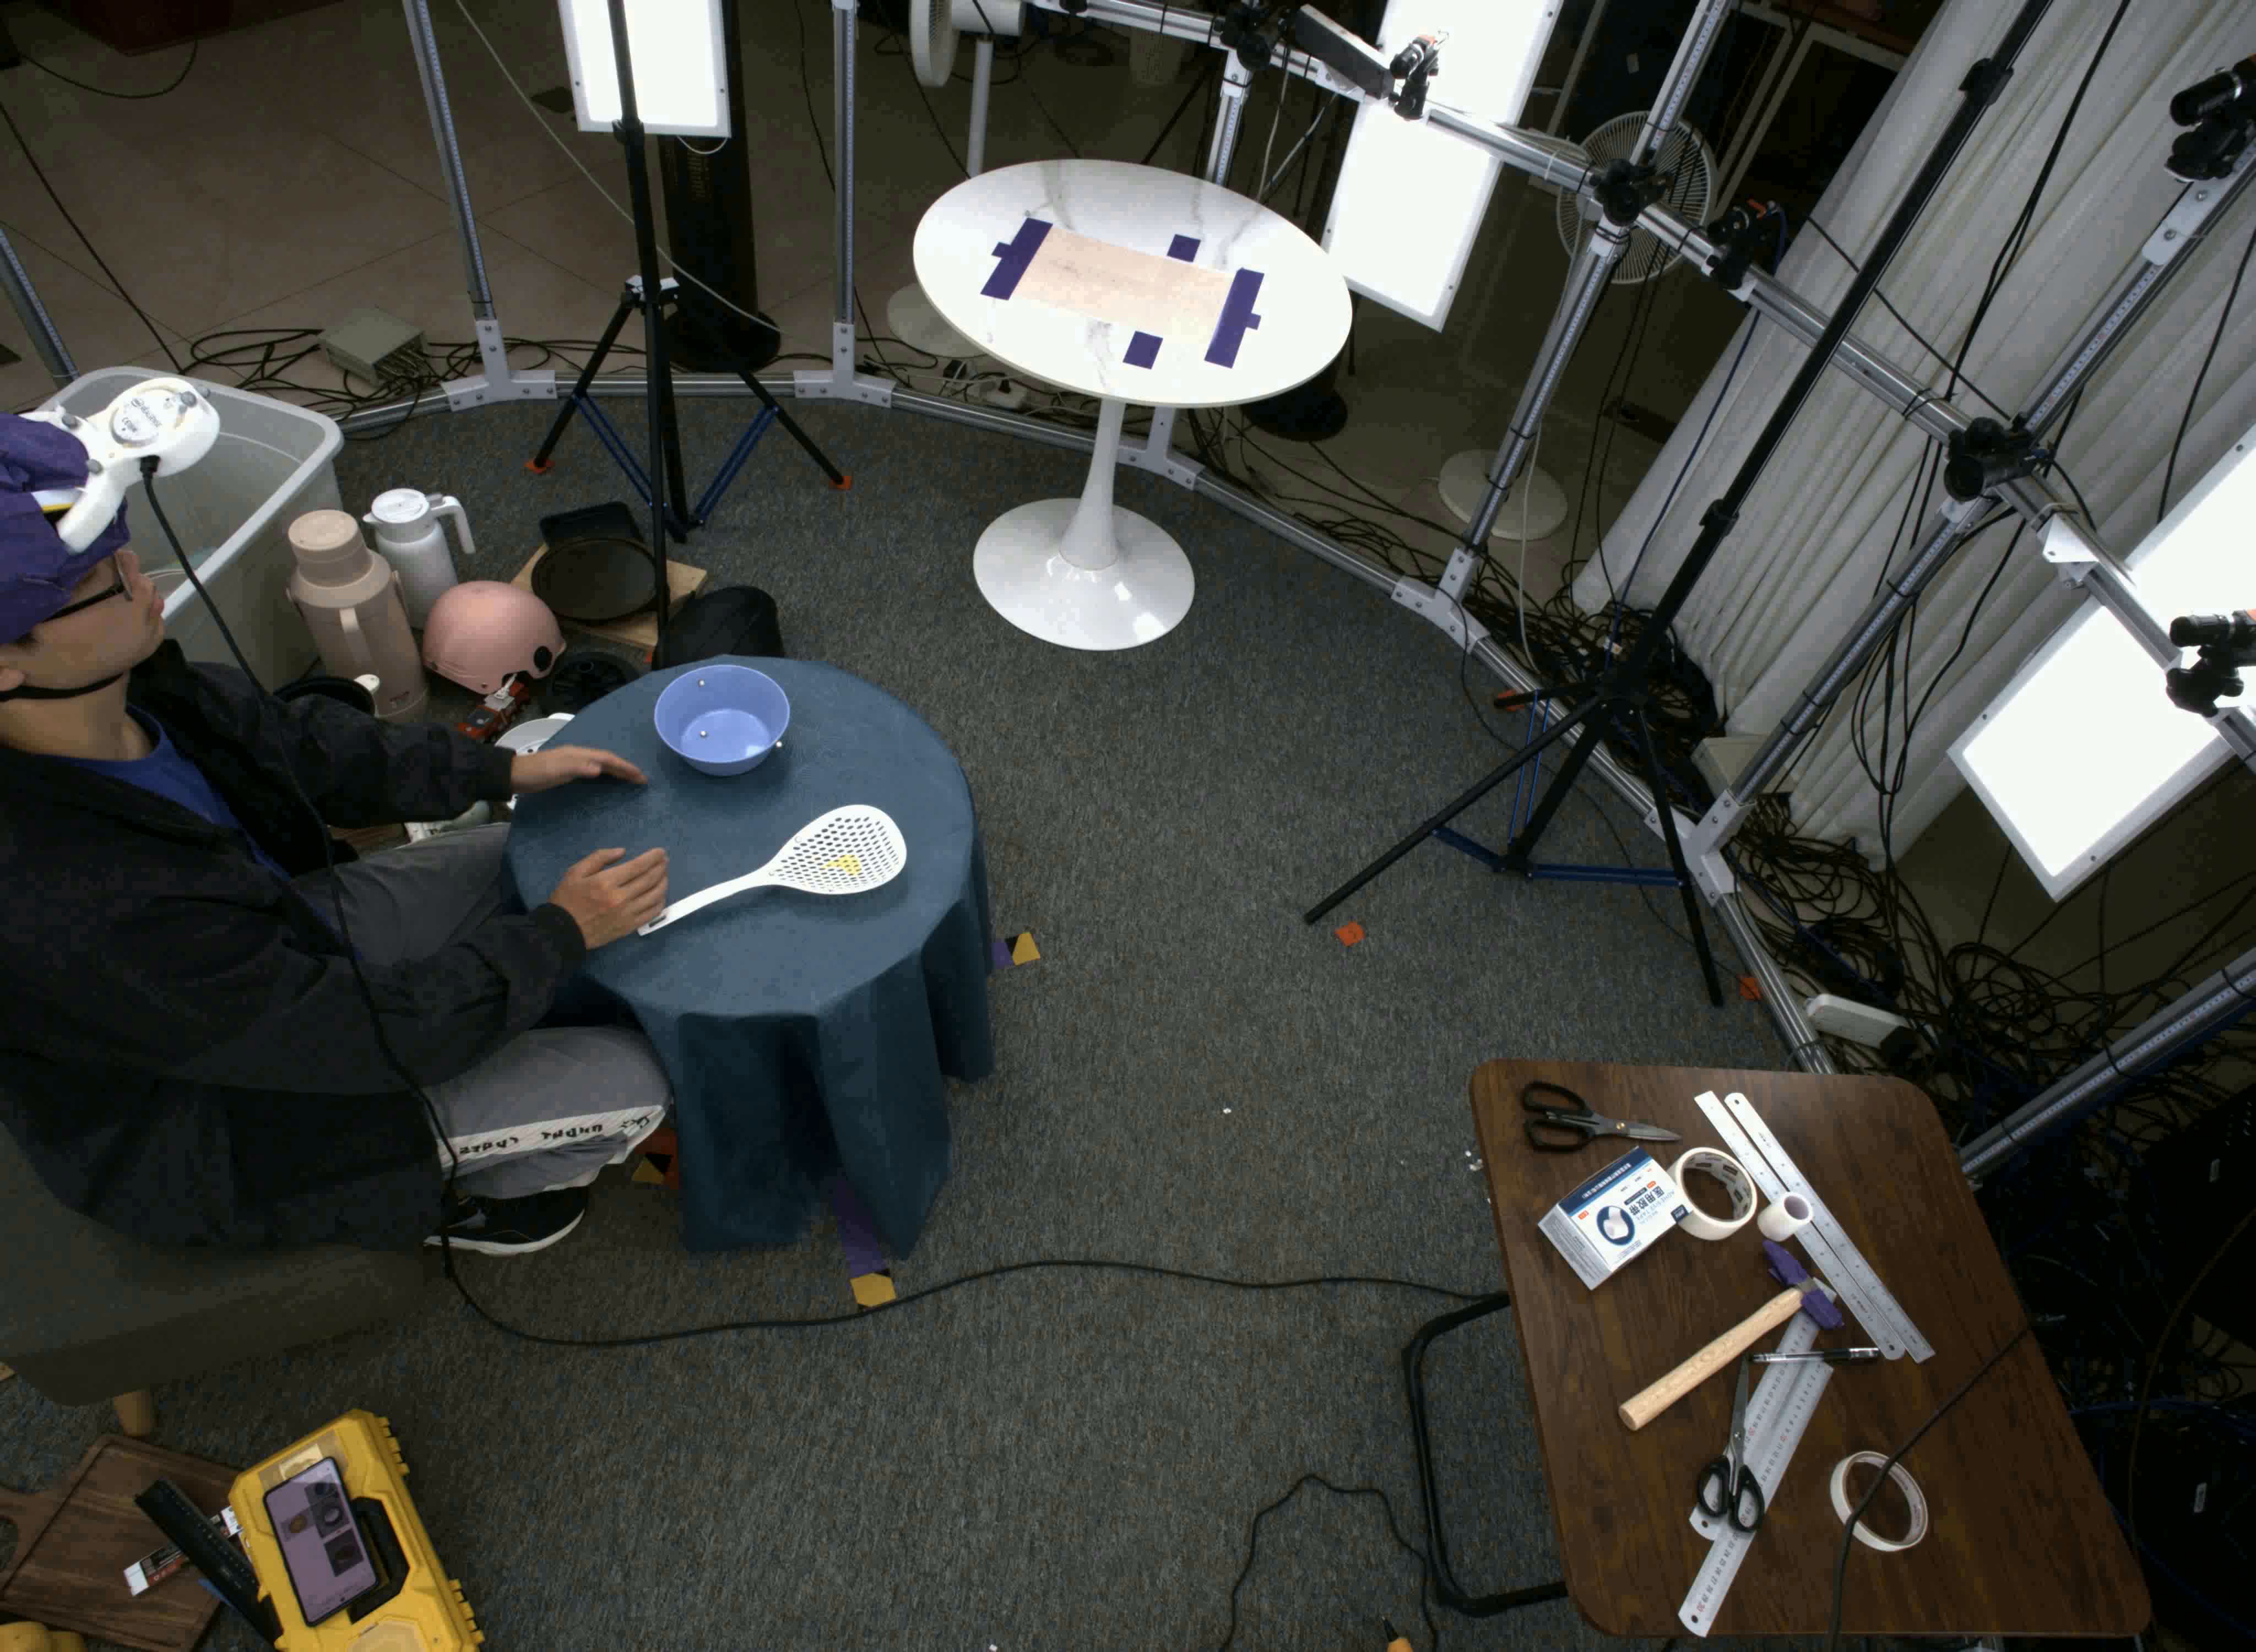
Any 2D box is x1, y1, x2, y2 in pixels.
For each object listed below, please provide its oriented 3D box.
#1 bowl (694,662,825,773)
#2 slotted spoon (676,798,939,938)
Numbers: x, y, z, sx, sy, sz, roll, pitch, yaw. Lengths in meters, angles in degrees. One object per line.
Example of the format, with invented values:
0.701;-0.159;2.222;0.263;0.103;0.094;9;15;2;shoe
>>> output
-0.502;-0.139;1.772;0.175;0.072;0.173;7;52;-8;bowl
-0.412;0.064;1.663;0.349;0.051;0.134;-18;64;-24;slotted spoon
